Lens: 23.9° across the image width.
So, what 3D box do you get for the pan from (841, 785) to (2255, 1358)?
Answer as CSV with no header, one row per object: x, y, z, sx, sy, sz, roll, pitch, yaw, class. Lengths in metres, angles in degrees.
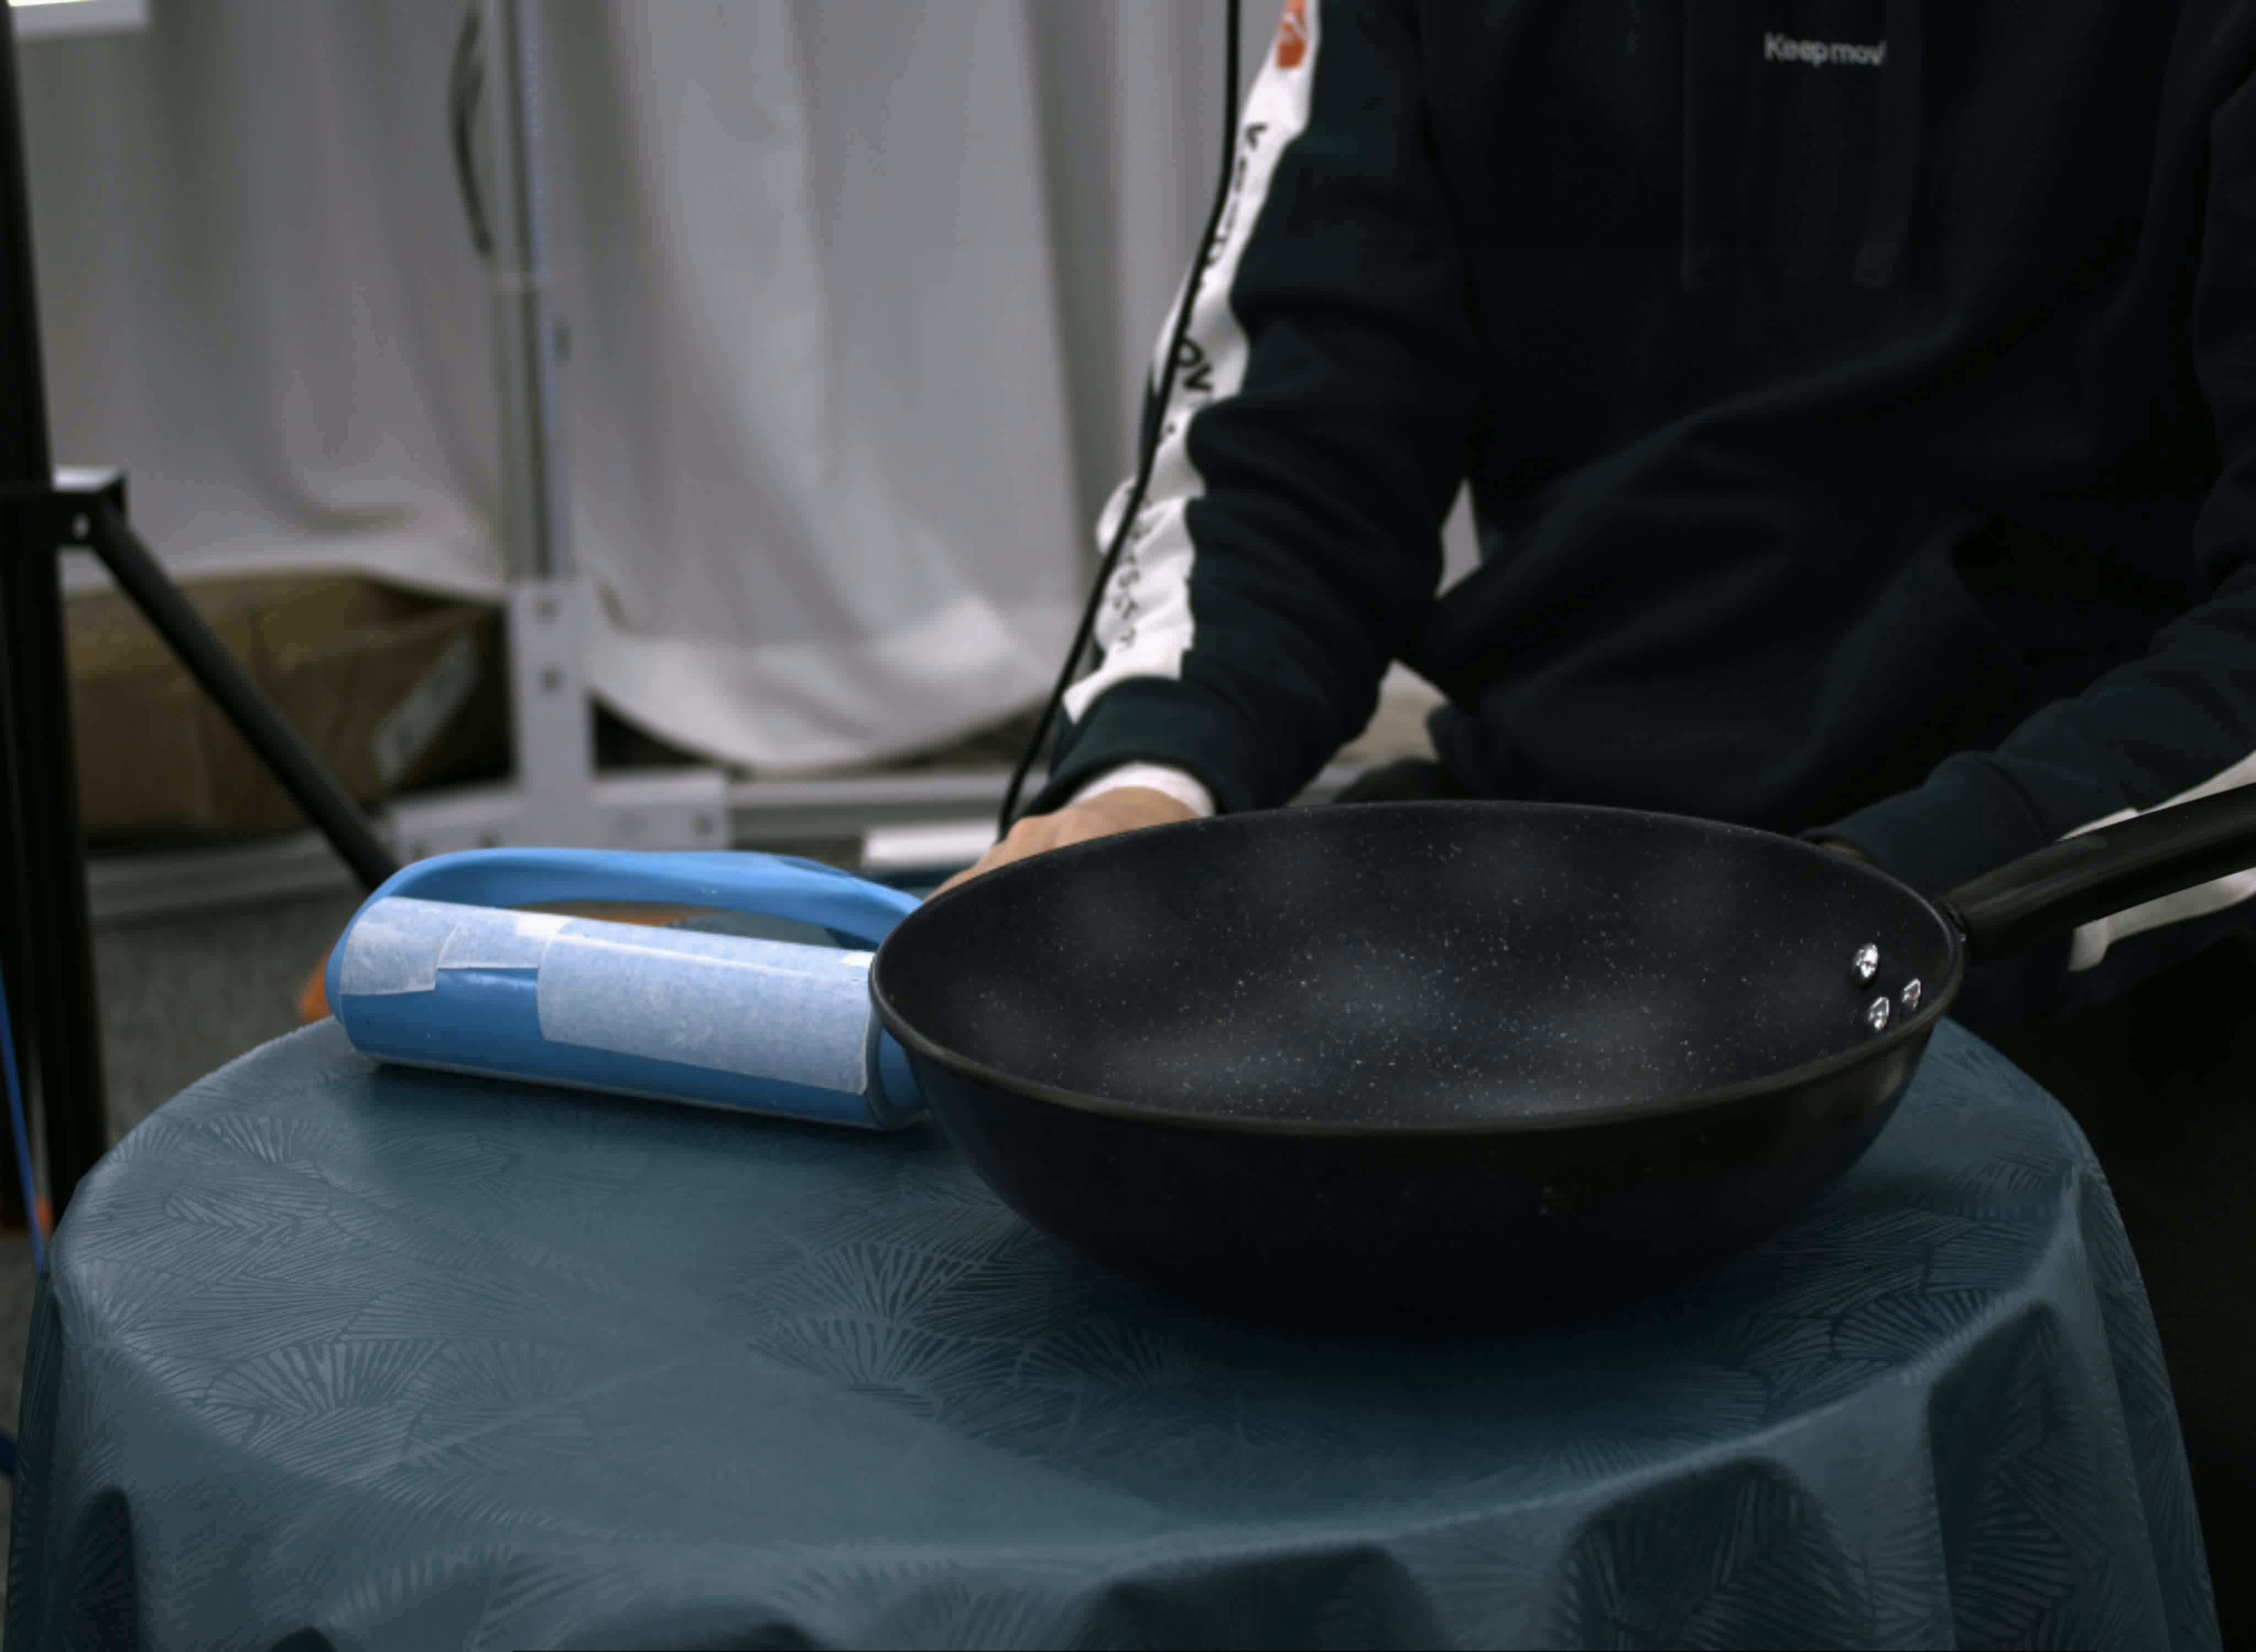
0.155,0.059,1.511,0.471,0.111,0.314,-6,18,-11,pan

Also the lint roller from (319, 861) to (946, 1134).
-0.129,0.043,1.710,0.232,0.068,0.177,3,17,25,lint roller
